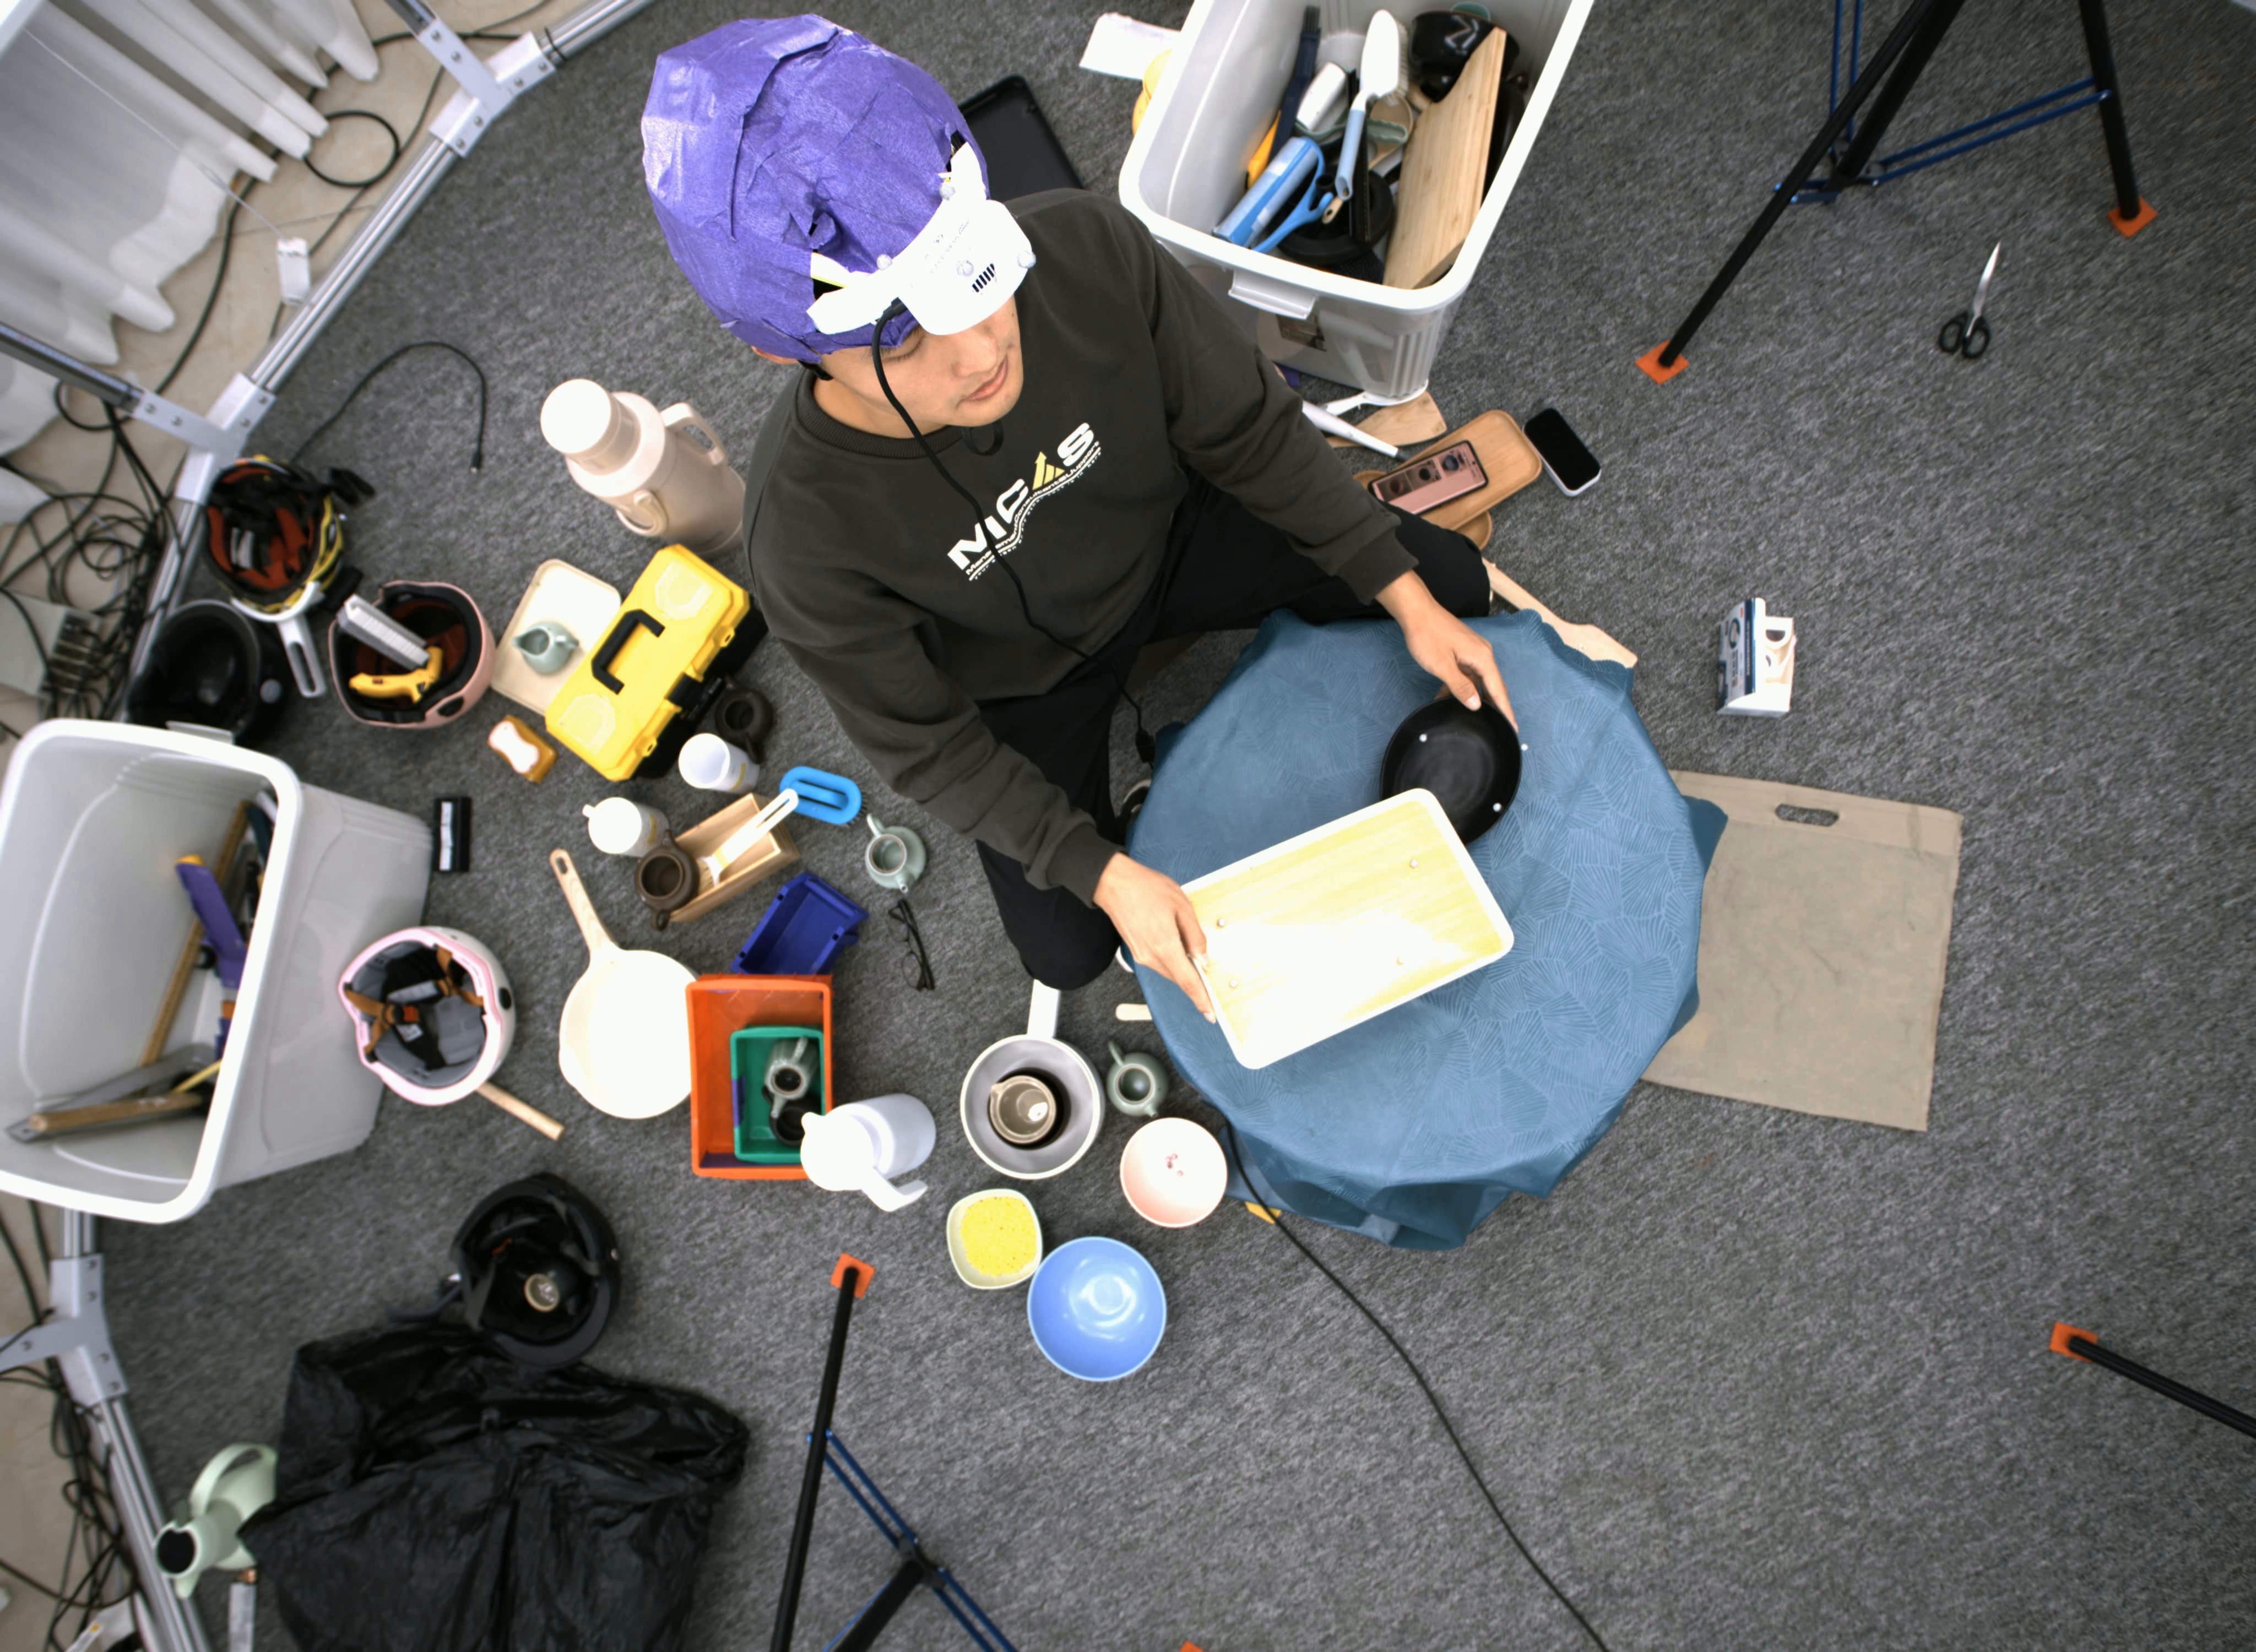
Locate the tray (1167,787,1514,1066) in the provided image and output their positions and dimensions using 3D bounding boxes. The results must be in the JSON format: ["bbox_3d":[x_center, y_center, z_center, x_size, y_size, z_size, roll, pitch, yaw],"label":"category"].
[{"bbox_3d":[0.207,0.092,1.351,0.298,0.028,0.189,-22,72,-11],"label":"tray"}]

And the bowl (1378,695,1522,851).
[{"bbox_3d":[0.332,-0.053,1.424,0.137,0.066,0.171,26,96,12],"label":"bowl"}]
